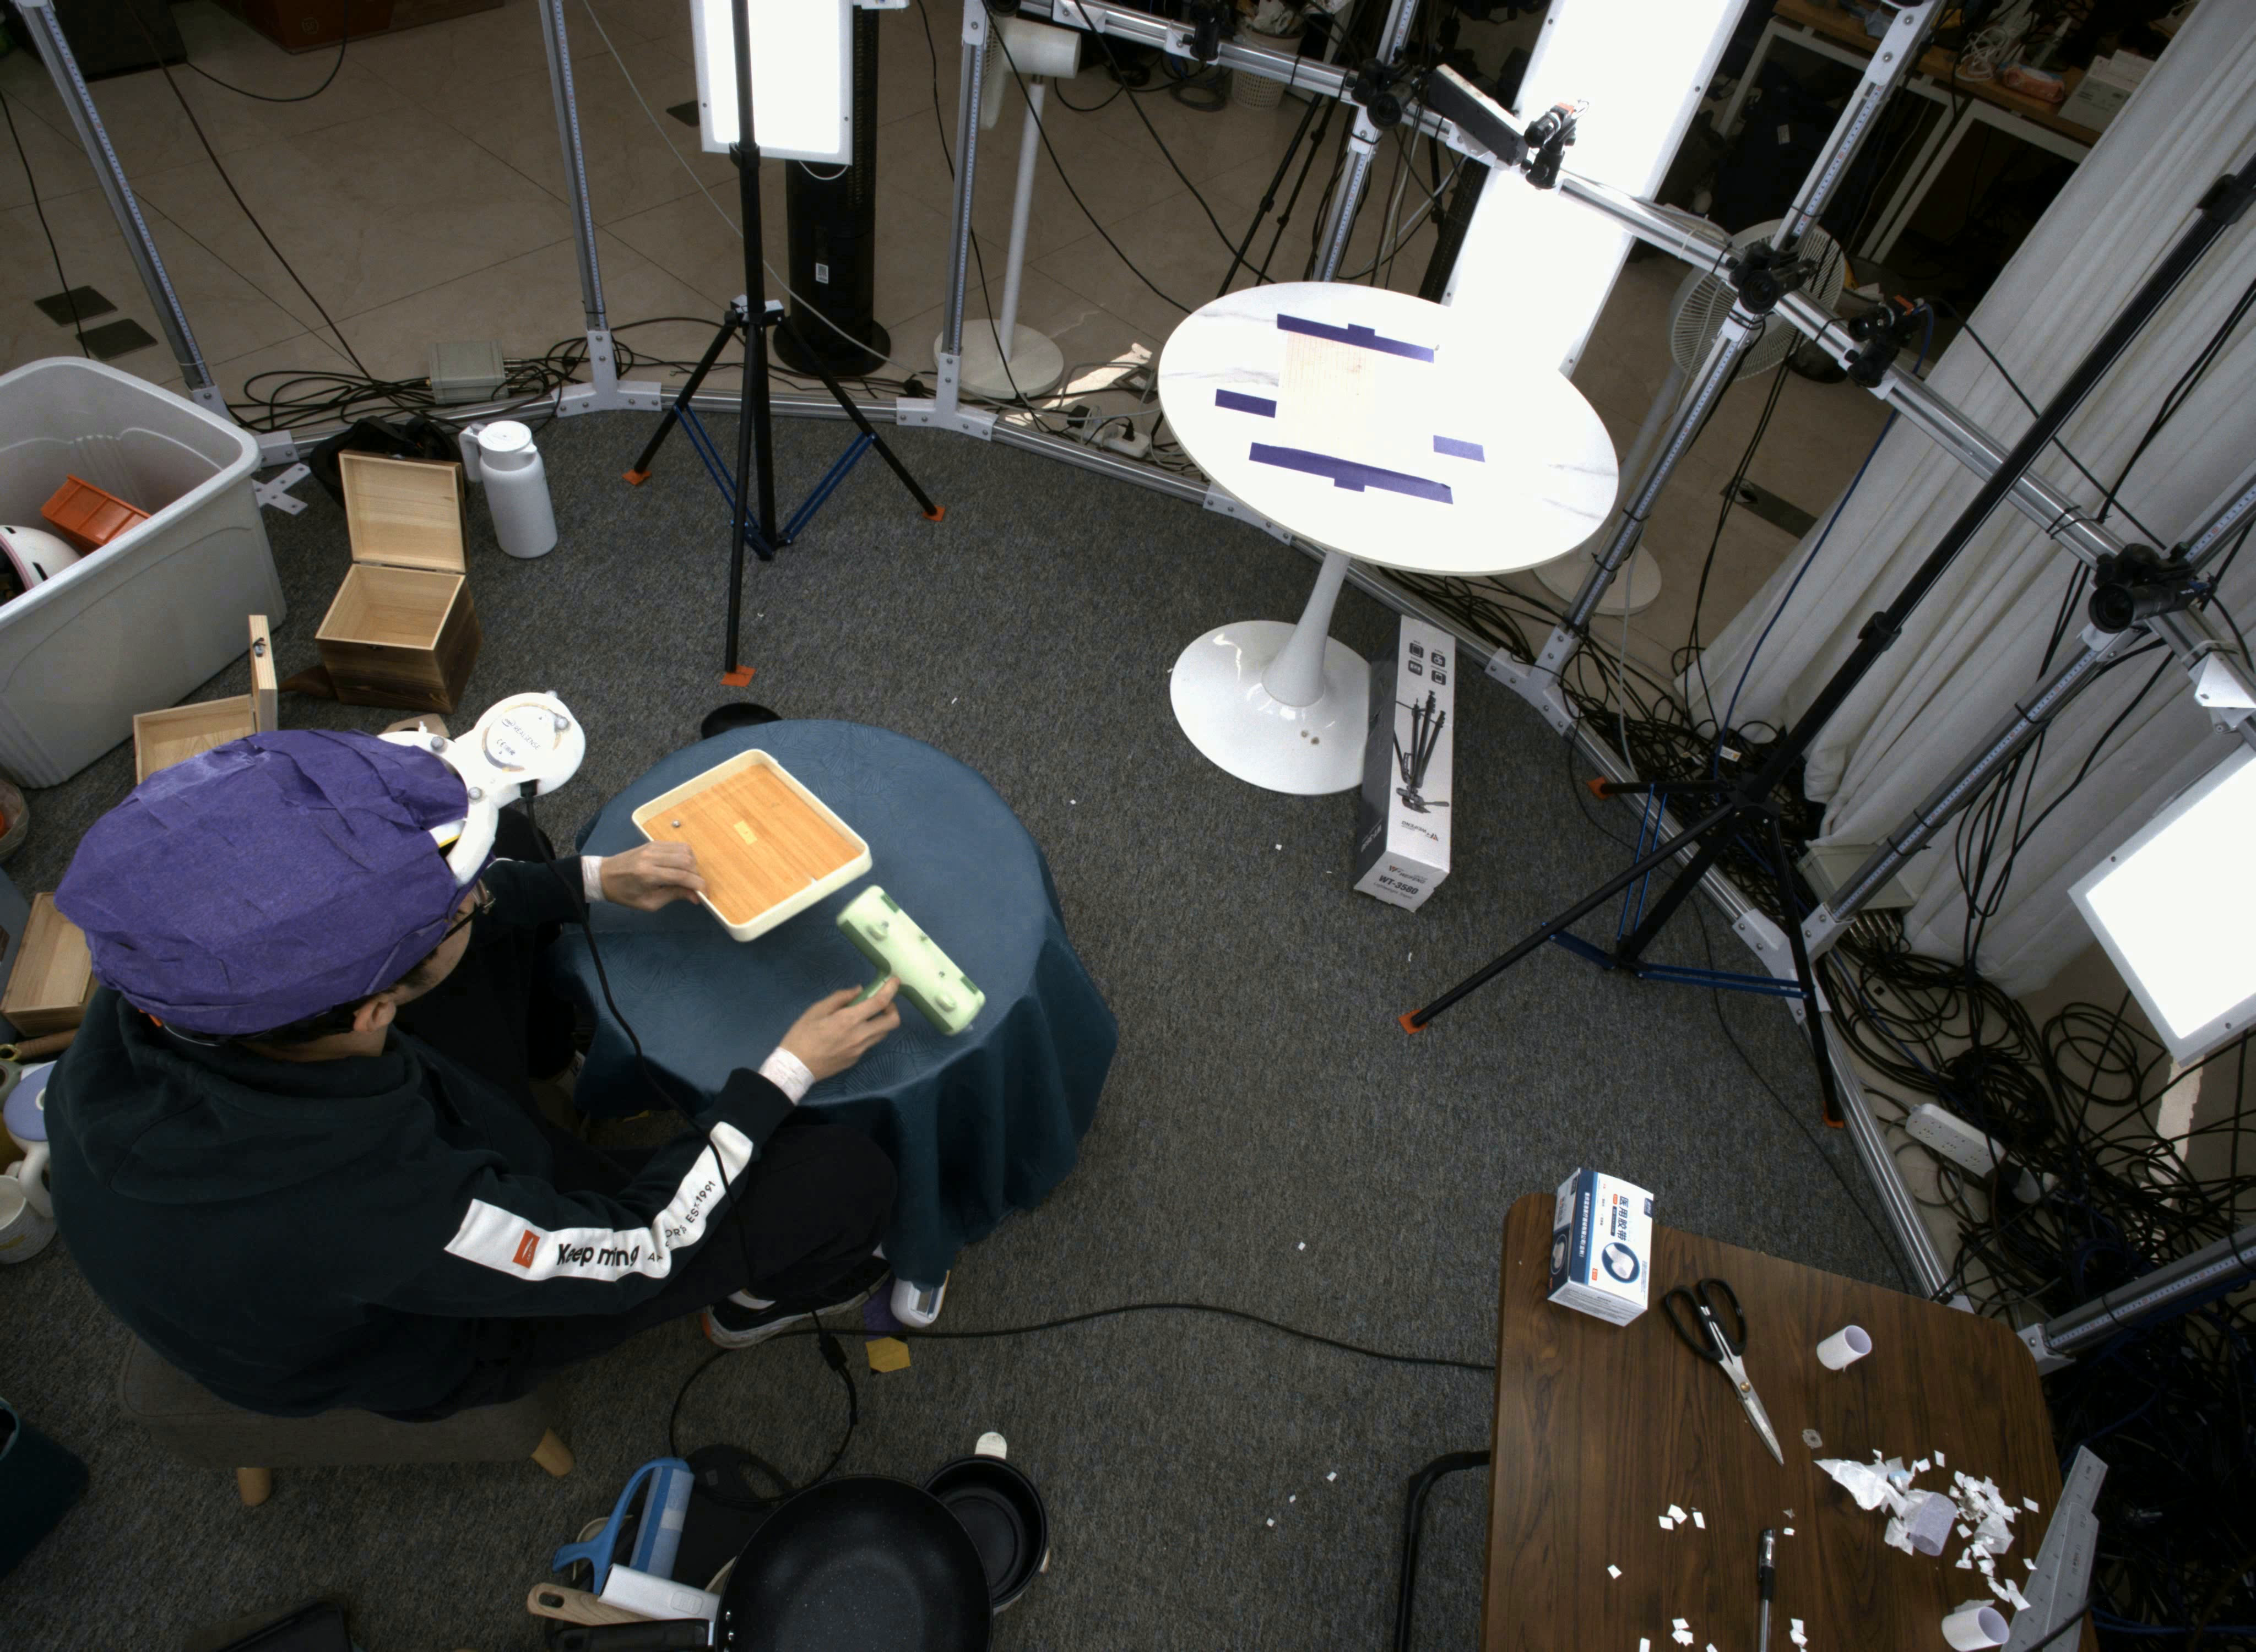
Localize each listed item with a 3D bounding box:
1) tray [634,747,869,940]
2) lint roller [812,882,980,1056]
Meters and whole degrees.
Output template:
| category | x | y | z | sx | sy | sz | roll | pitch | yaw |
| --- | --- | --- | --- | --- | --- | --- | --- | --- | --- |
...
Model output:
| category | x | y | z | sx | sy | sz | roll | pitch | yaw |
| --- | --- | --- | --- | --- | --- | --- | --- | --- | --- |
| tray | -0.466 | 0.012 | 1.583 | 0.192 | 0.028 | 0.289 | -33 | 47 | -26 |
| lint roller | -0.293 | 0.193 | 1.506 | 0.203 | 0.080 | 0.183 | 49 | 63 | -15 |
